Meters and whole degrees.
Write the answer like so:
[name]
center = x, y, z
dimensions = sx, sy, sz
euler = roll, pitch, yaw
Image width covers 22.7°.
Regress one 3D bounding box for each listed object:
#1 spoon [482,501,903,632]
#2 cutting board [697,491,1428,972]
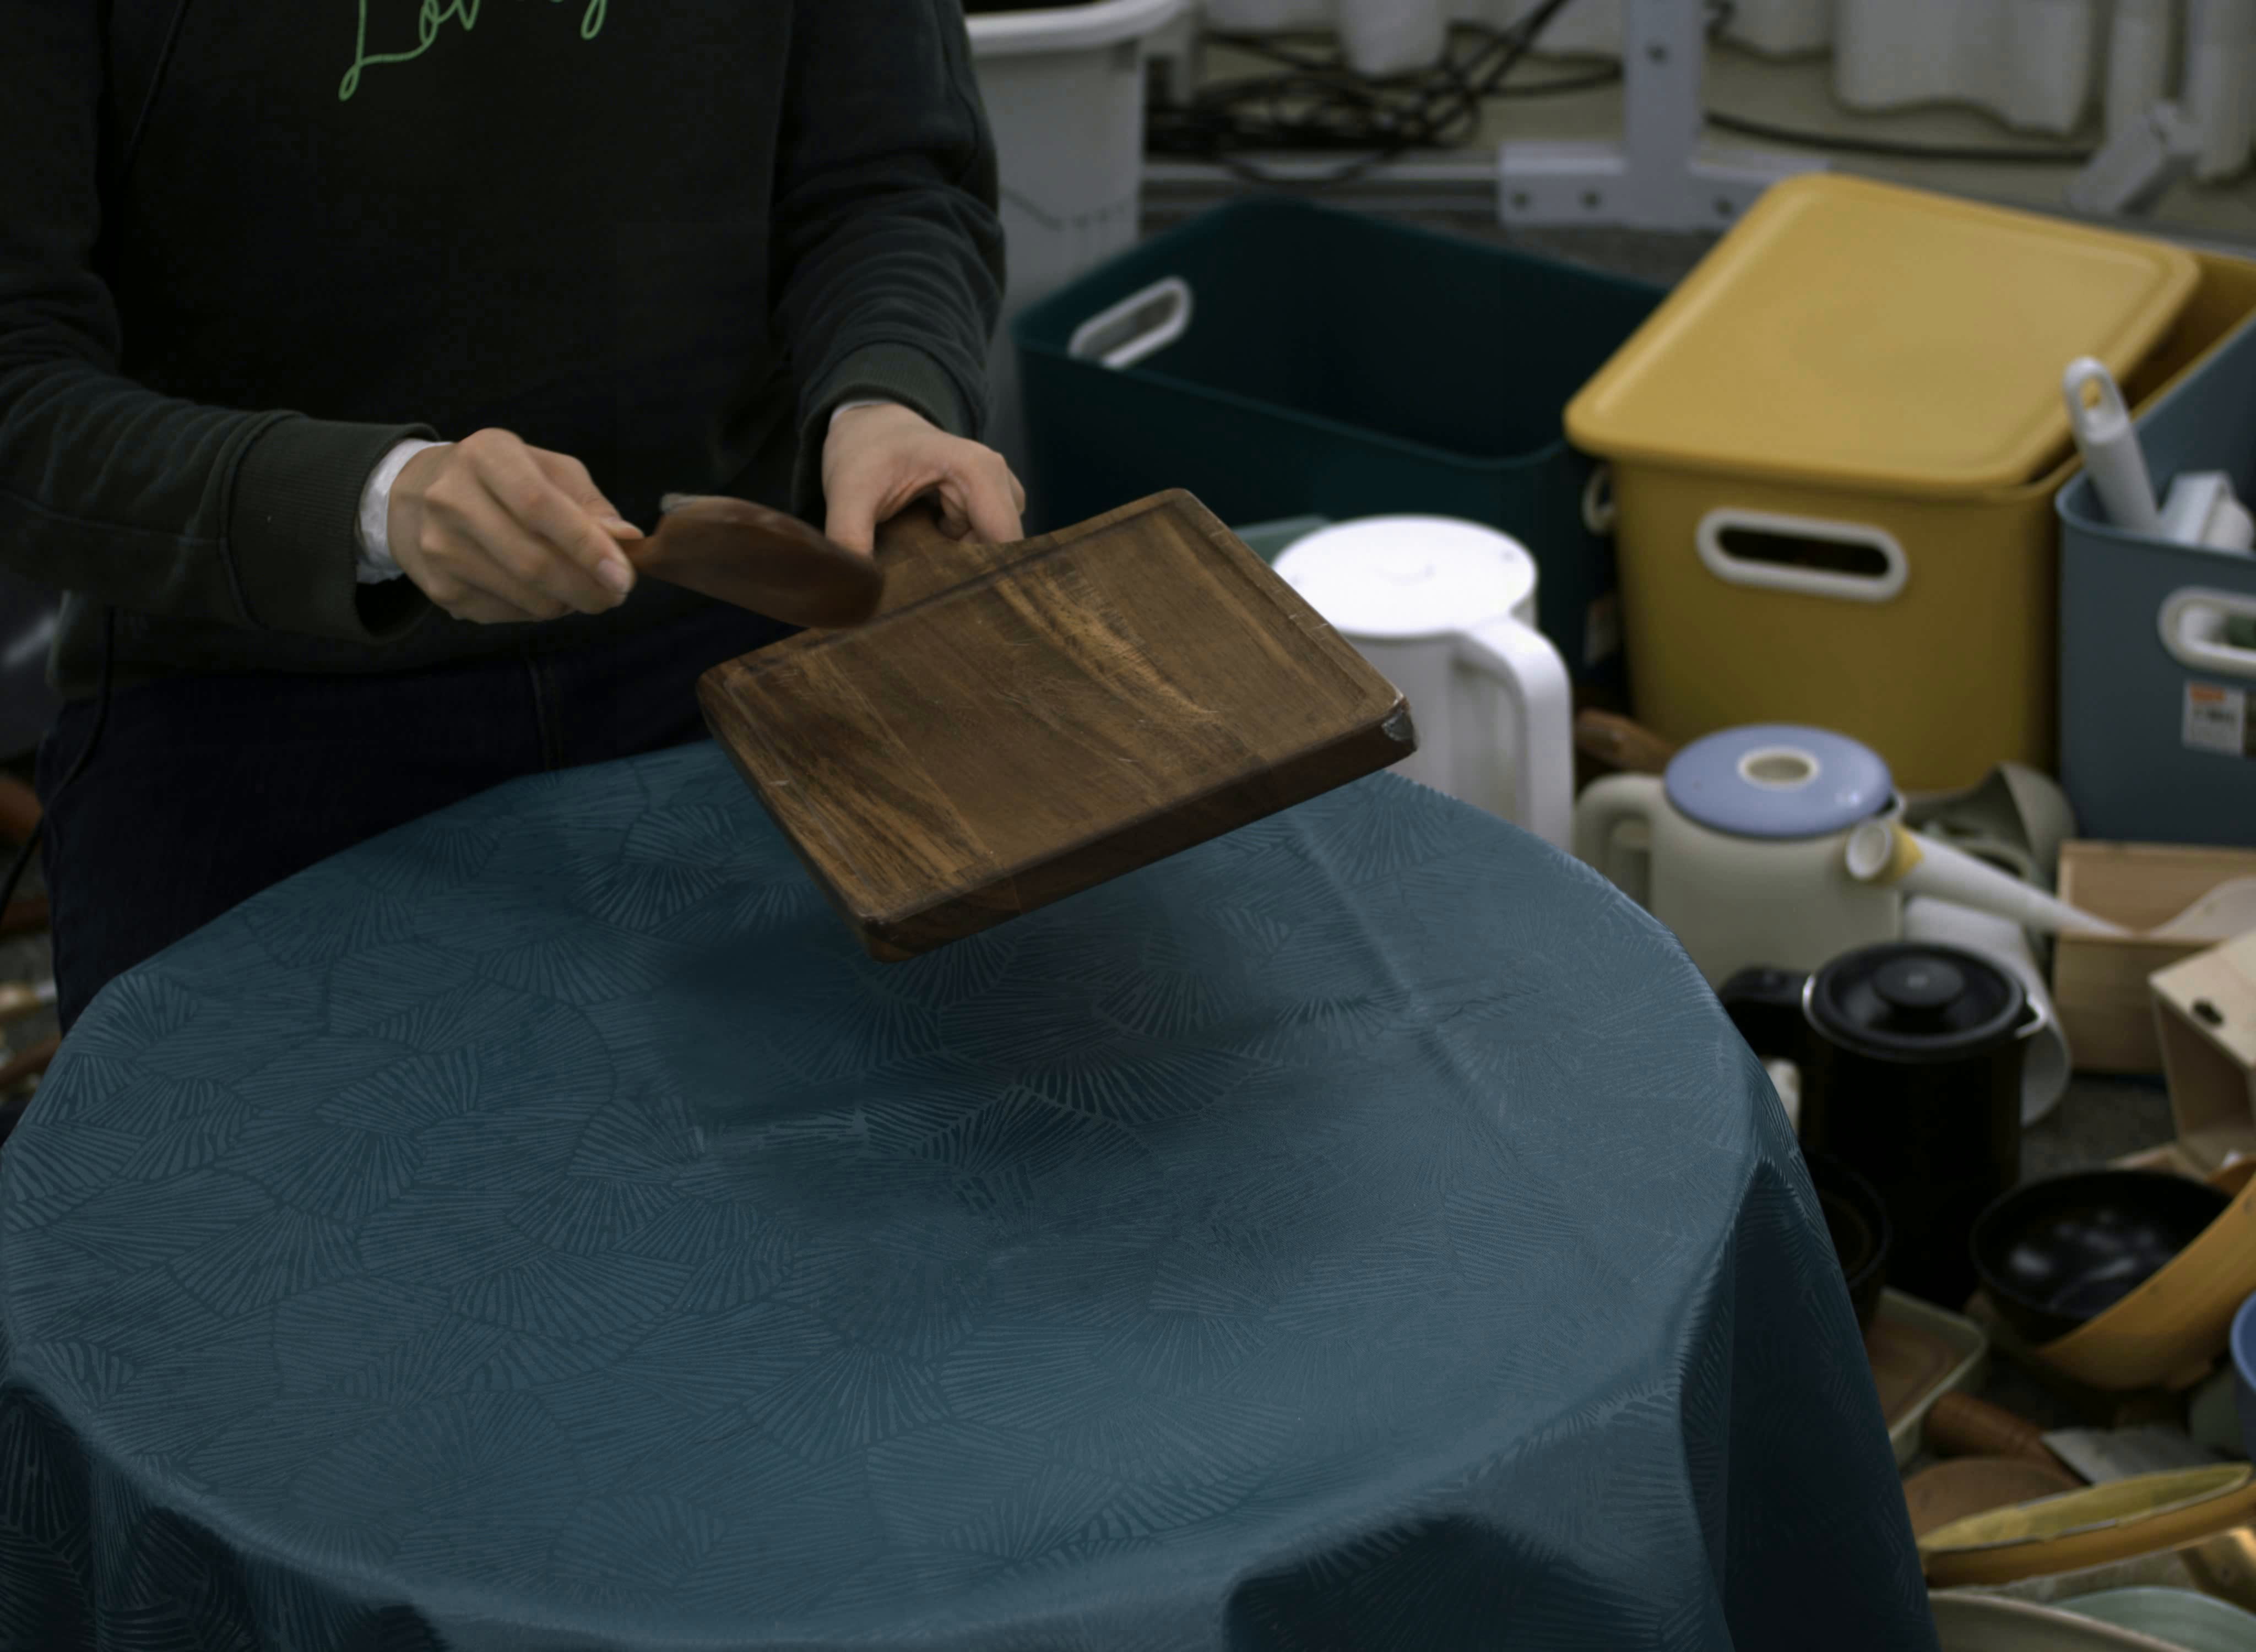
[spoon]
center = -0.158, -0.091, 1.967
dimensions = 0.214, 0.075, 0.017
euler = 8, 65, 48
[cutting board]
center = -0.042, -0.054, 1.969
dimensions = 0.201, 0.023, 0.354
euler = -23, 25, -9
